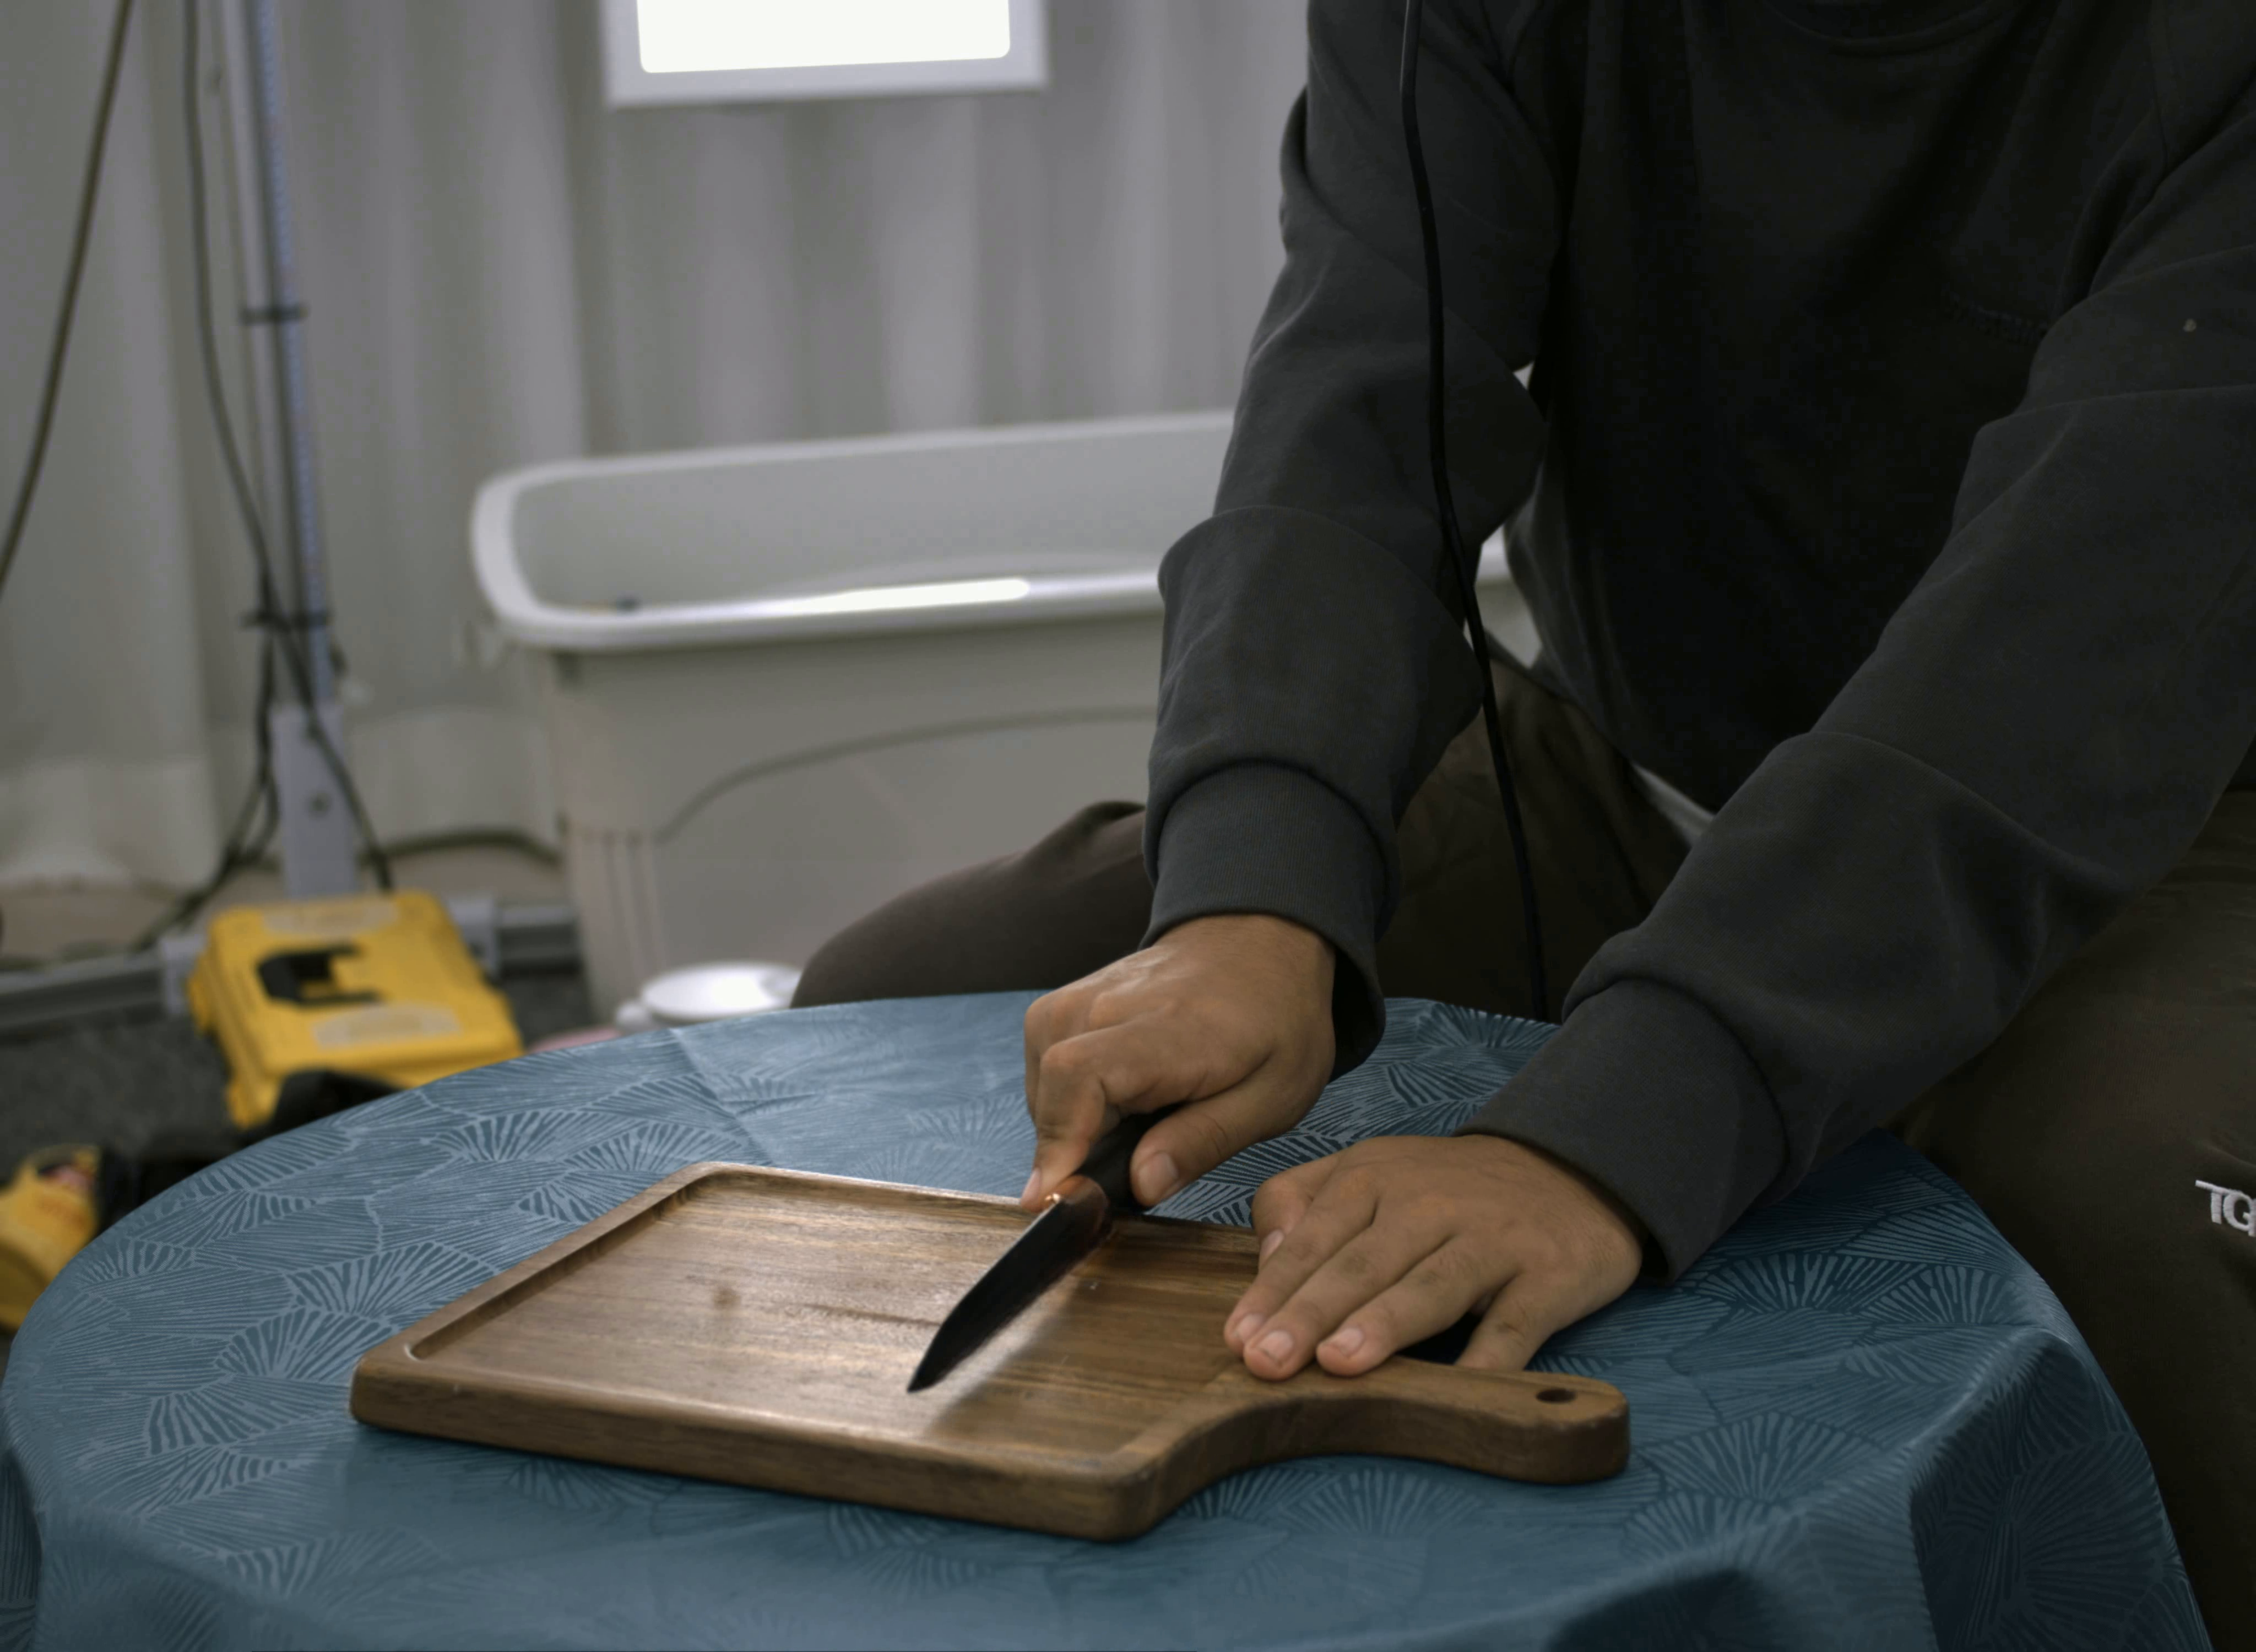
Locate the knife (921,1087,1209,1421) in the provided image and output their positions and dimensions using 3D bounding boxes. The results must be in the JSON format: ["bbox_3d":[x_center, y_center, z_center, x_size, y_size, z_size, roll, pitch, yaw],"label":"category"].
[{"bbox_3d":[-0.018,0.123,1.581,0.017,0.026,0.226,-5,17,22],"label":"knife"}]

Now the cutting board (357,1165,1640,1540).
[{"bbox_3d":[-0.022,0.150,1.547,0.353,0.023,0.201,5,17,26],"label":"cutting board"}]
